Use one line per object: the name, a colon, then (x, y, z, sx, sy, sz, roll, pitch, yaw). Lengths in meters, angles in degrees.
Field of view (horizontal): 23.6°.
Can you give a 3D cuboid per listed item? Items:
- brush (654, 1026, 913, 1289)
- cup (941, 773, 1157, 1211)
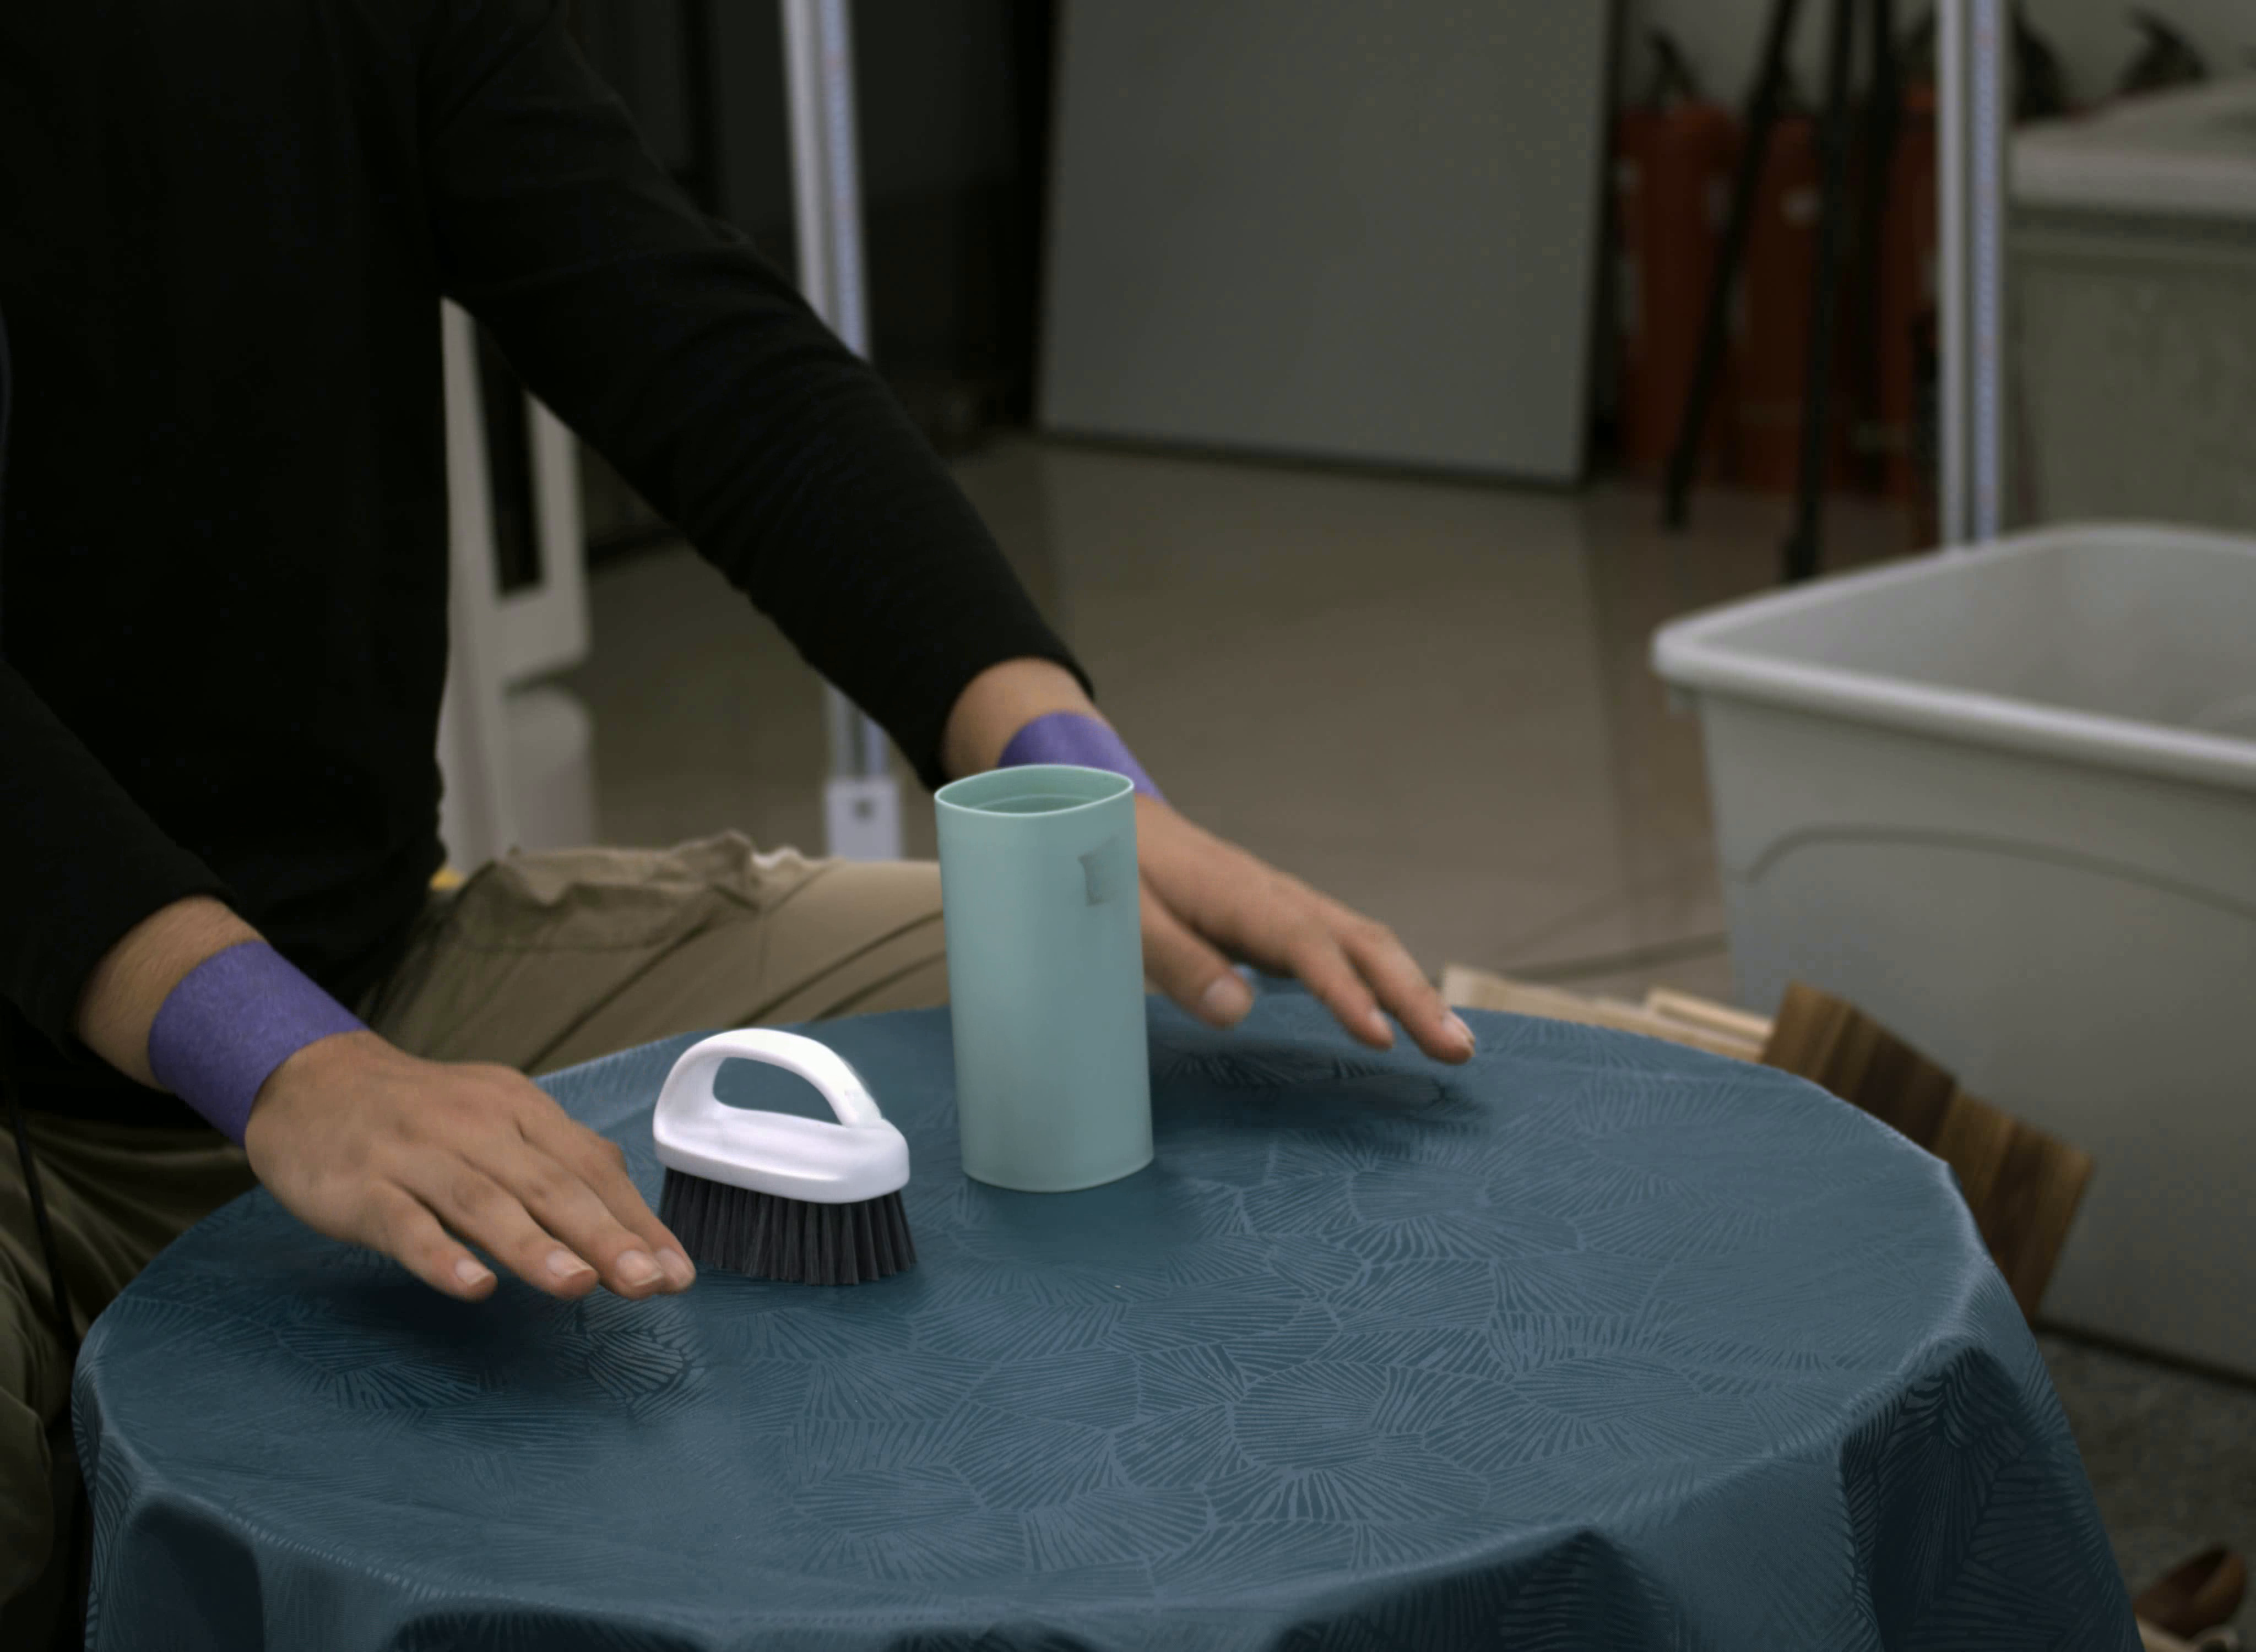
brush: (-0.112, 0.101, 1.725, 0.049, 0.073, 0.100, -15, 18, -43)
cup: (-0.026, 0.054, 1.789, 0.066, 0.134, 0.067, -3, 14, 0)
